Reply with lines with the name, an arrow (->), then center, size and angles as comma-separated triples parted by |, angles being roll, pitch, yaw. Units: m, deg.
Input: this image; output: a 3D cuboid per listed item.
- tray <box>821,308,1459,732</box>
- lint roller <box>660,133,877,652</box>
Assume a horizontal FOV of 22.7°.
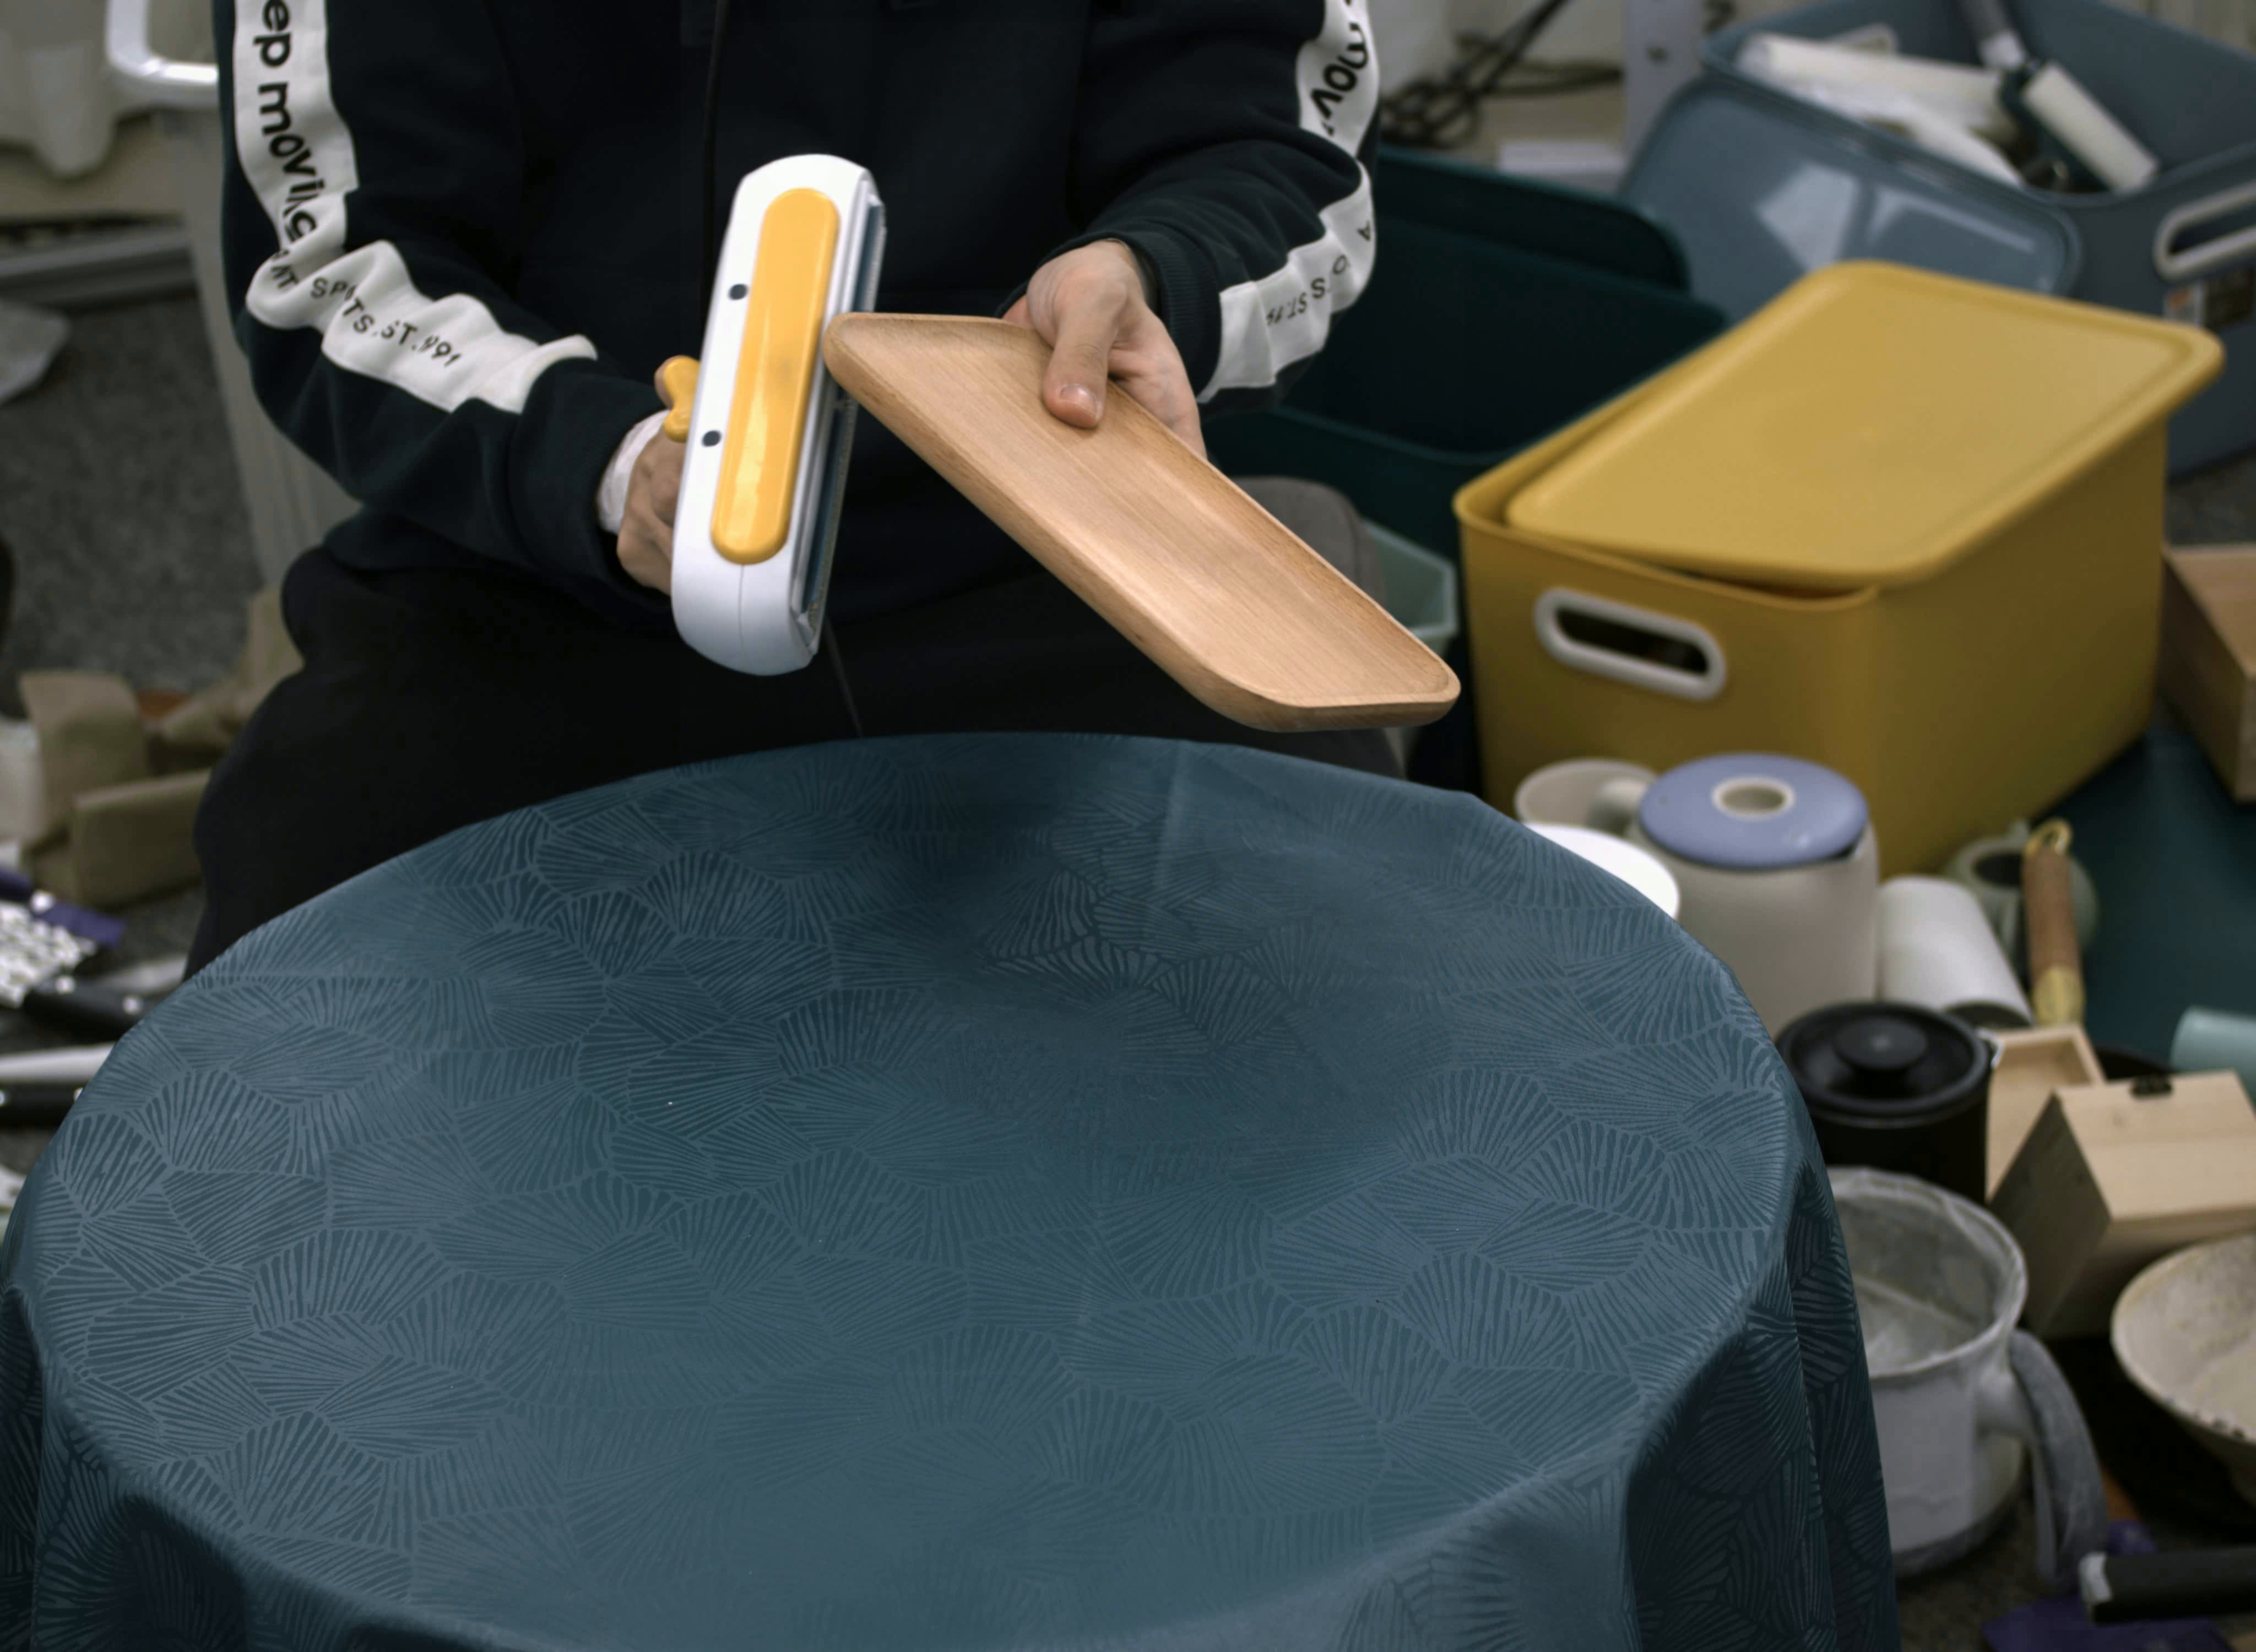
tray -> 0.001, -0.107, 1.947 | 0.131, 0.022, 0.252 | 2, 33, -48
lint roller -> -0.131, -0.130, 2.055 | 0.074, 0.190, 0.196 | 2, 65, 1
